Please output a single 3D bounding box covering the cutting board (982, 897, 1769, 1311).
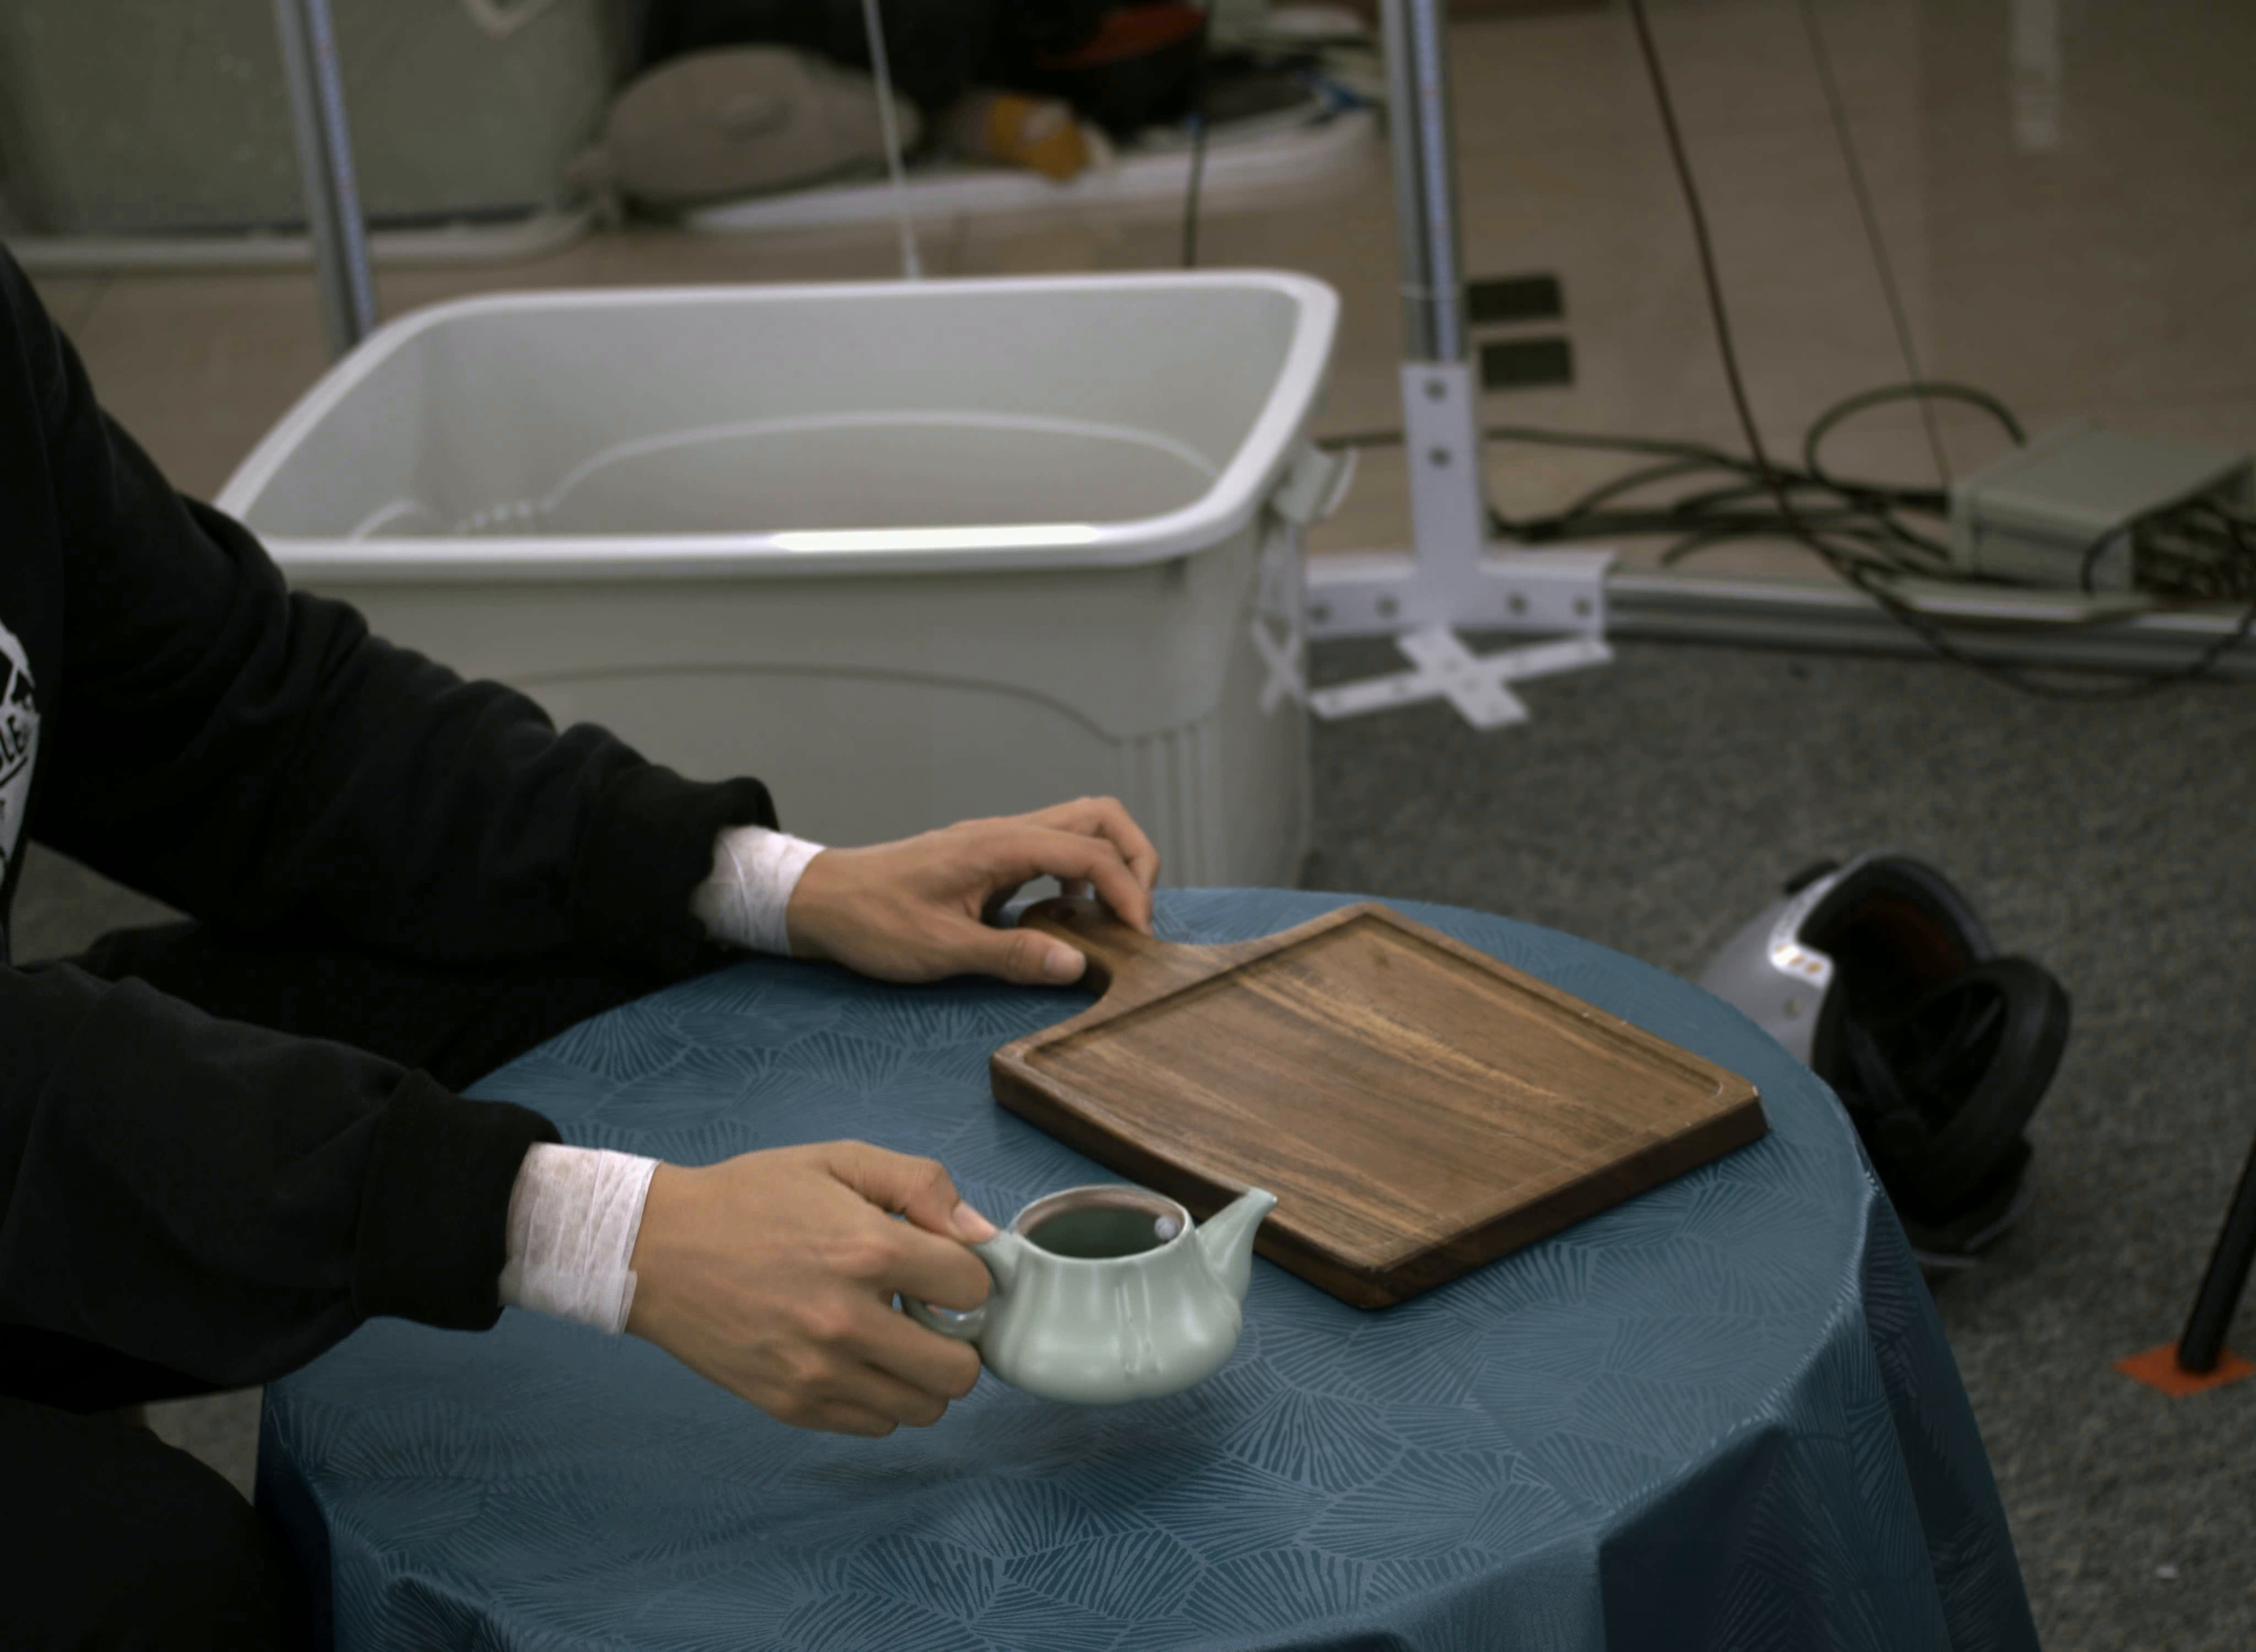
[{"bbox_3d":[0.063,0.089,2.216,0.200,0.023,0.349,-22,29,-31],"label":"cutting board"}]

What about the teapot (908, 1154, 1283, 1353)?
[{"bbox_3d":[-0.012,0.150,1.966,0.137,0.061,0.096,8,-5,-18],"label":"teapot"}]
